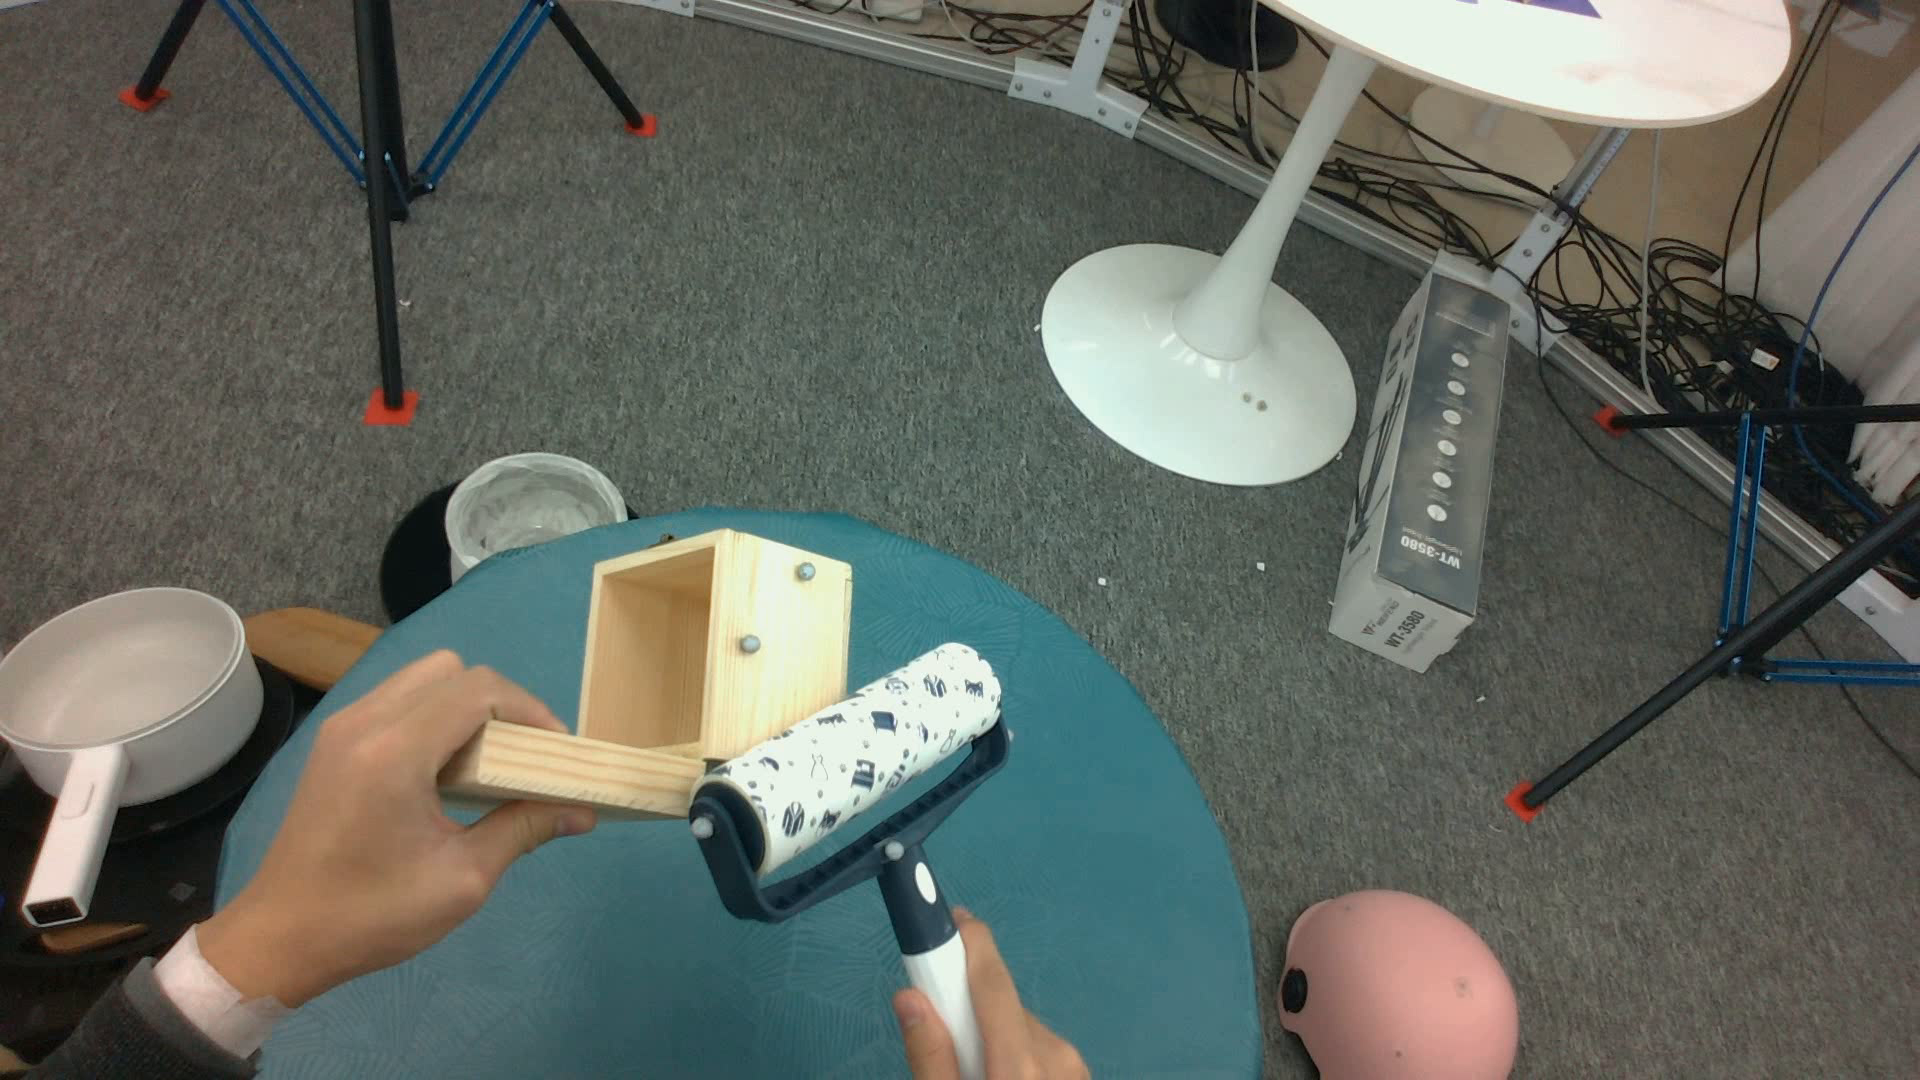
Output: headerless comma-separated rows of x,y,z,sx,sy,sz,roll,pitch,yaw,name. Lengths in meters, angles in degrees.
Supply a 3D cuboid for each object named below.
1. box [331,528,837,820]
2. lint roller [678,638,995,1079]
-0.158,0.056,0.609,0.184,0.102,0.134,19,66,-46,box
-0.015,0.182,0.615,0.177,0.050,0.247,-25,95,-51,lint roller
